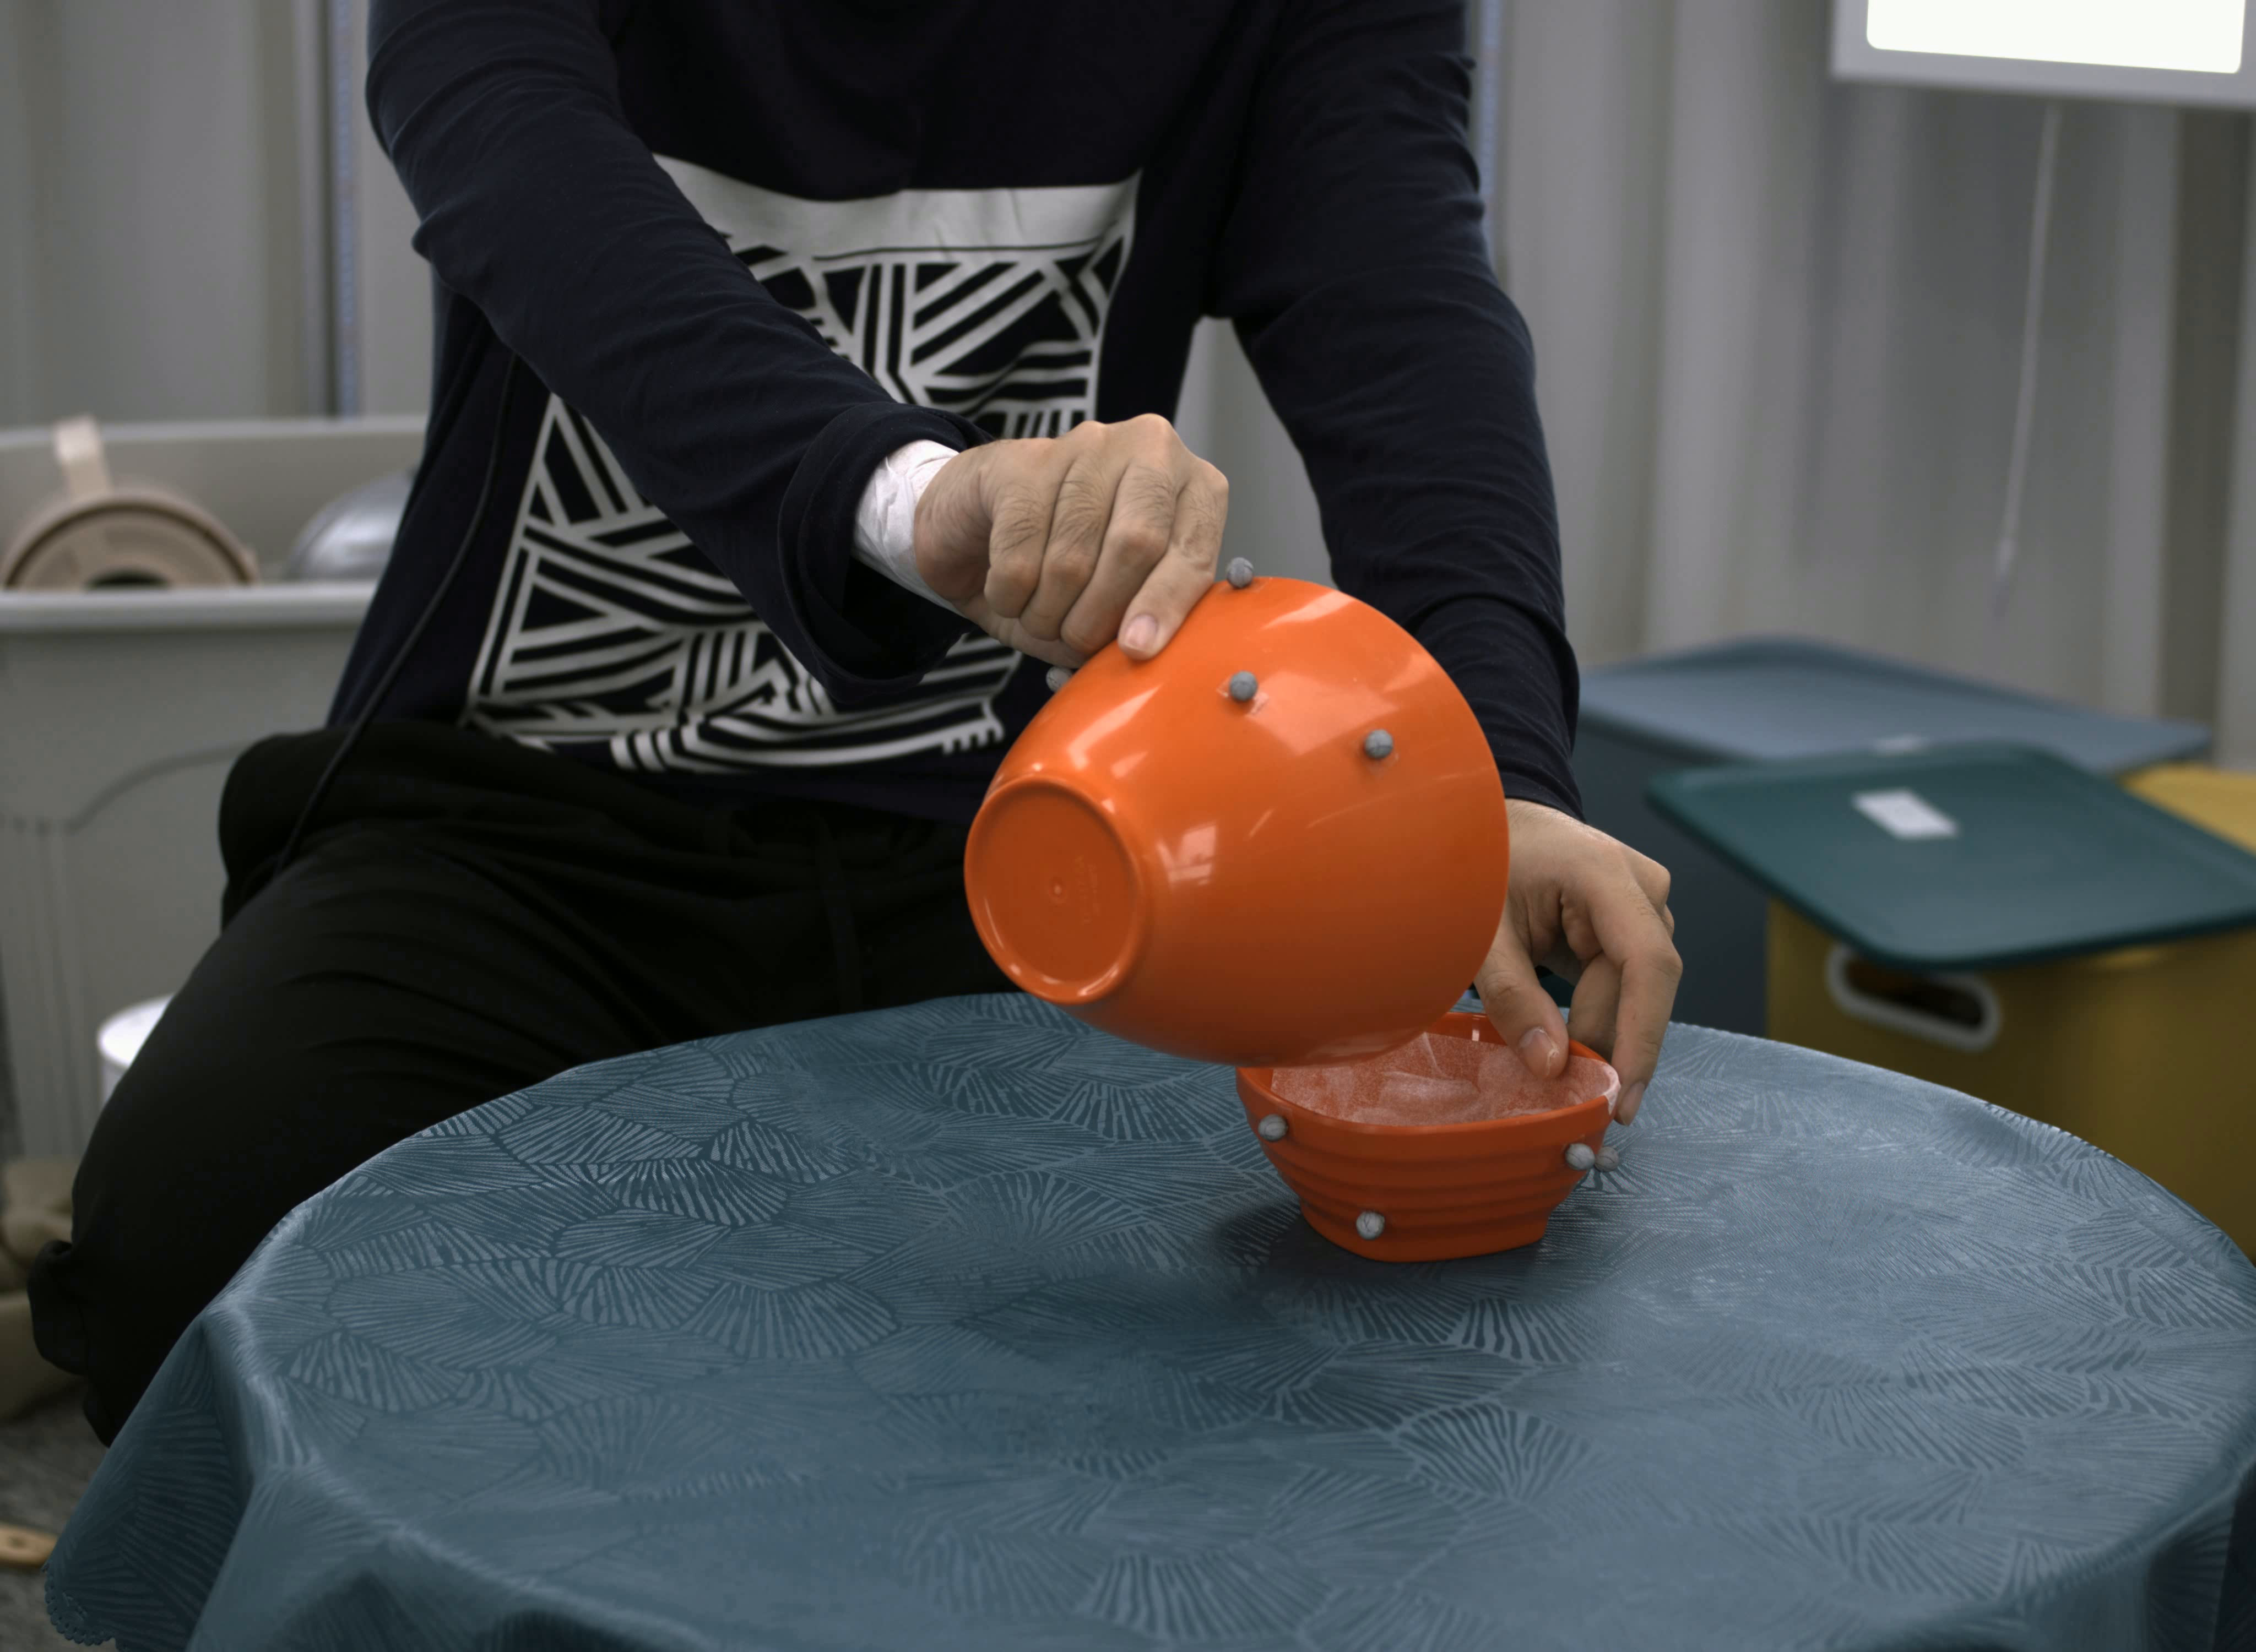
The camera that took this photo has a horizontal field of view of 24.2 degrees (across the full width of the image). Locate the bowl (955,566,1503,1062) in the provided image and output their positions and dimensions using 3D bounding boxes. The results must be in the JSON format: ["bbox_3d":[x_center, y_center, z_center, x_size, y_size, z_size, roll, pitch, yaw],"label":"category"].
[{"bbox_3d":[0.017,0.006,1.504,0.146,0.149,0.105,13,21,37],"label":"bowl"}]

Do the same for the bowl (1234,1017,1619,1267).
[{"bbox_3d":[0.090,0.097,1.594,0.118,0.052,0.118,-1,14,1],"label":"bowl"}]
